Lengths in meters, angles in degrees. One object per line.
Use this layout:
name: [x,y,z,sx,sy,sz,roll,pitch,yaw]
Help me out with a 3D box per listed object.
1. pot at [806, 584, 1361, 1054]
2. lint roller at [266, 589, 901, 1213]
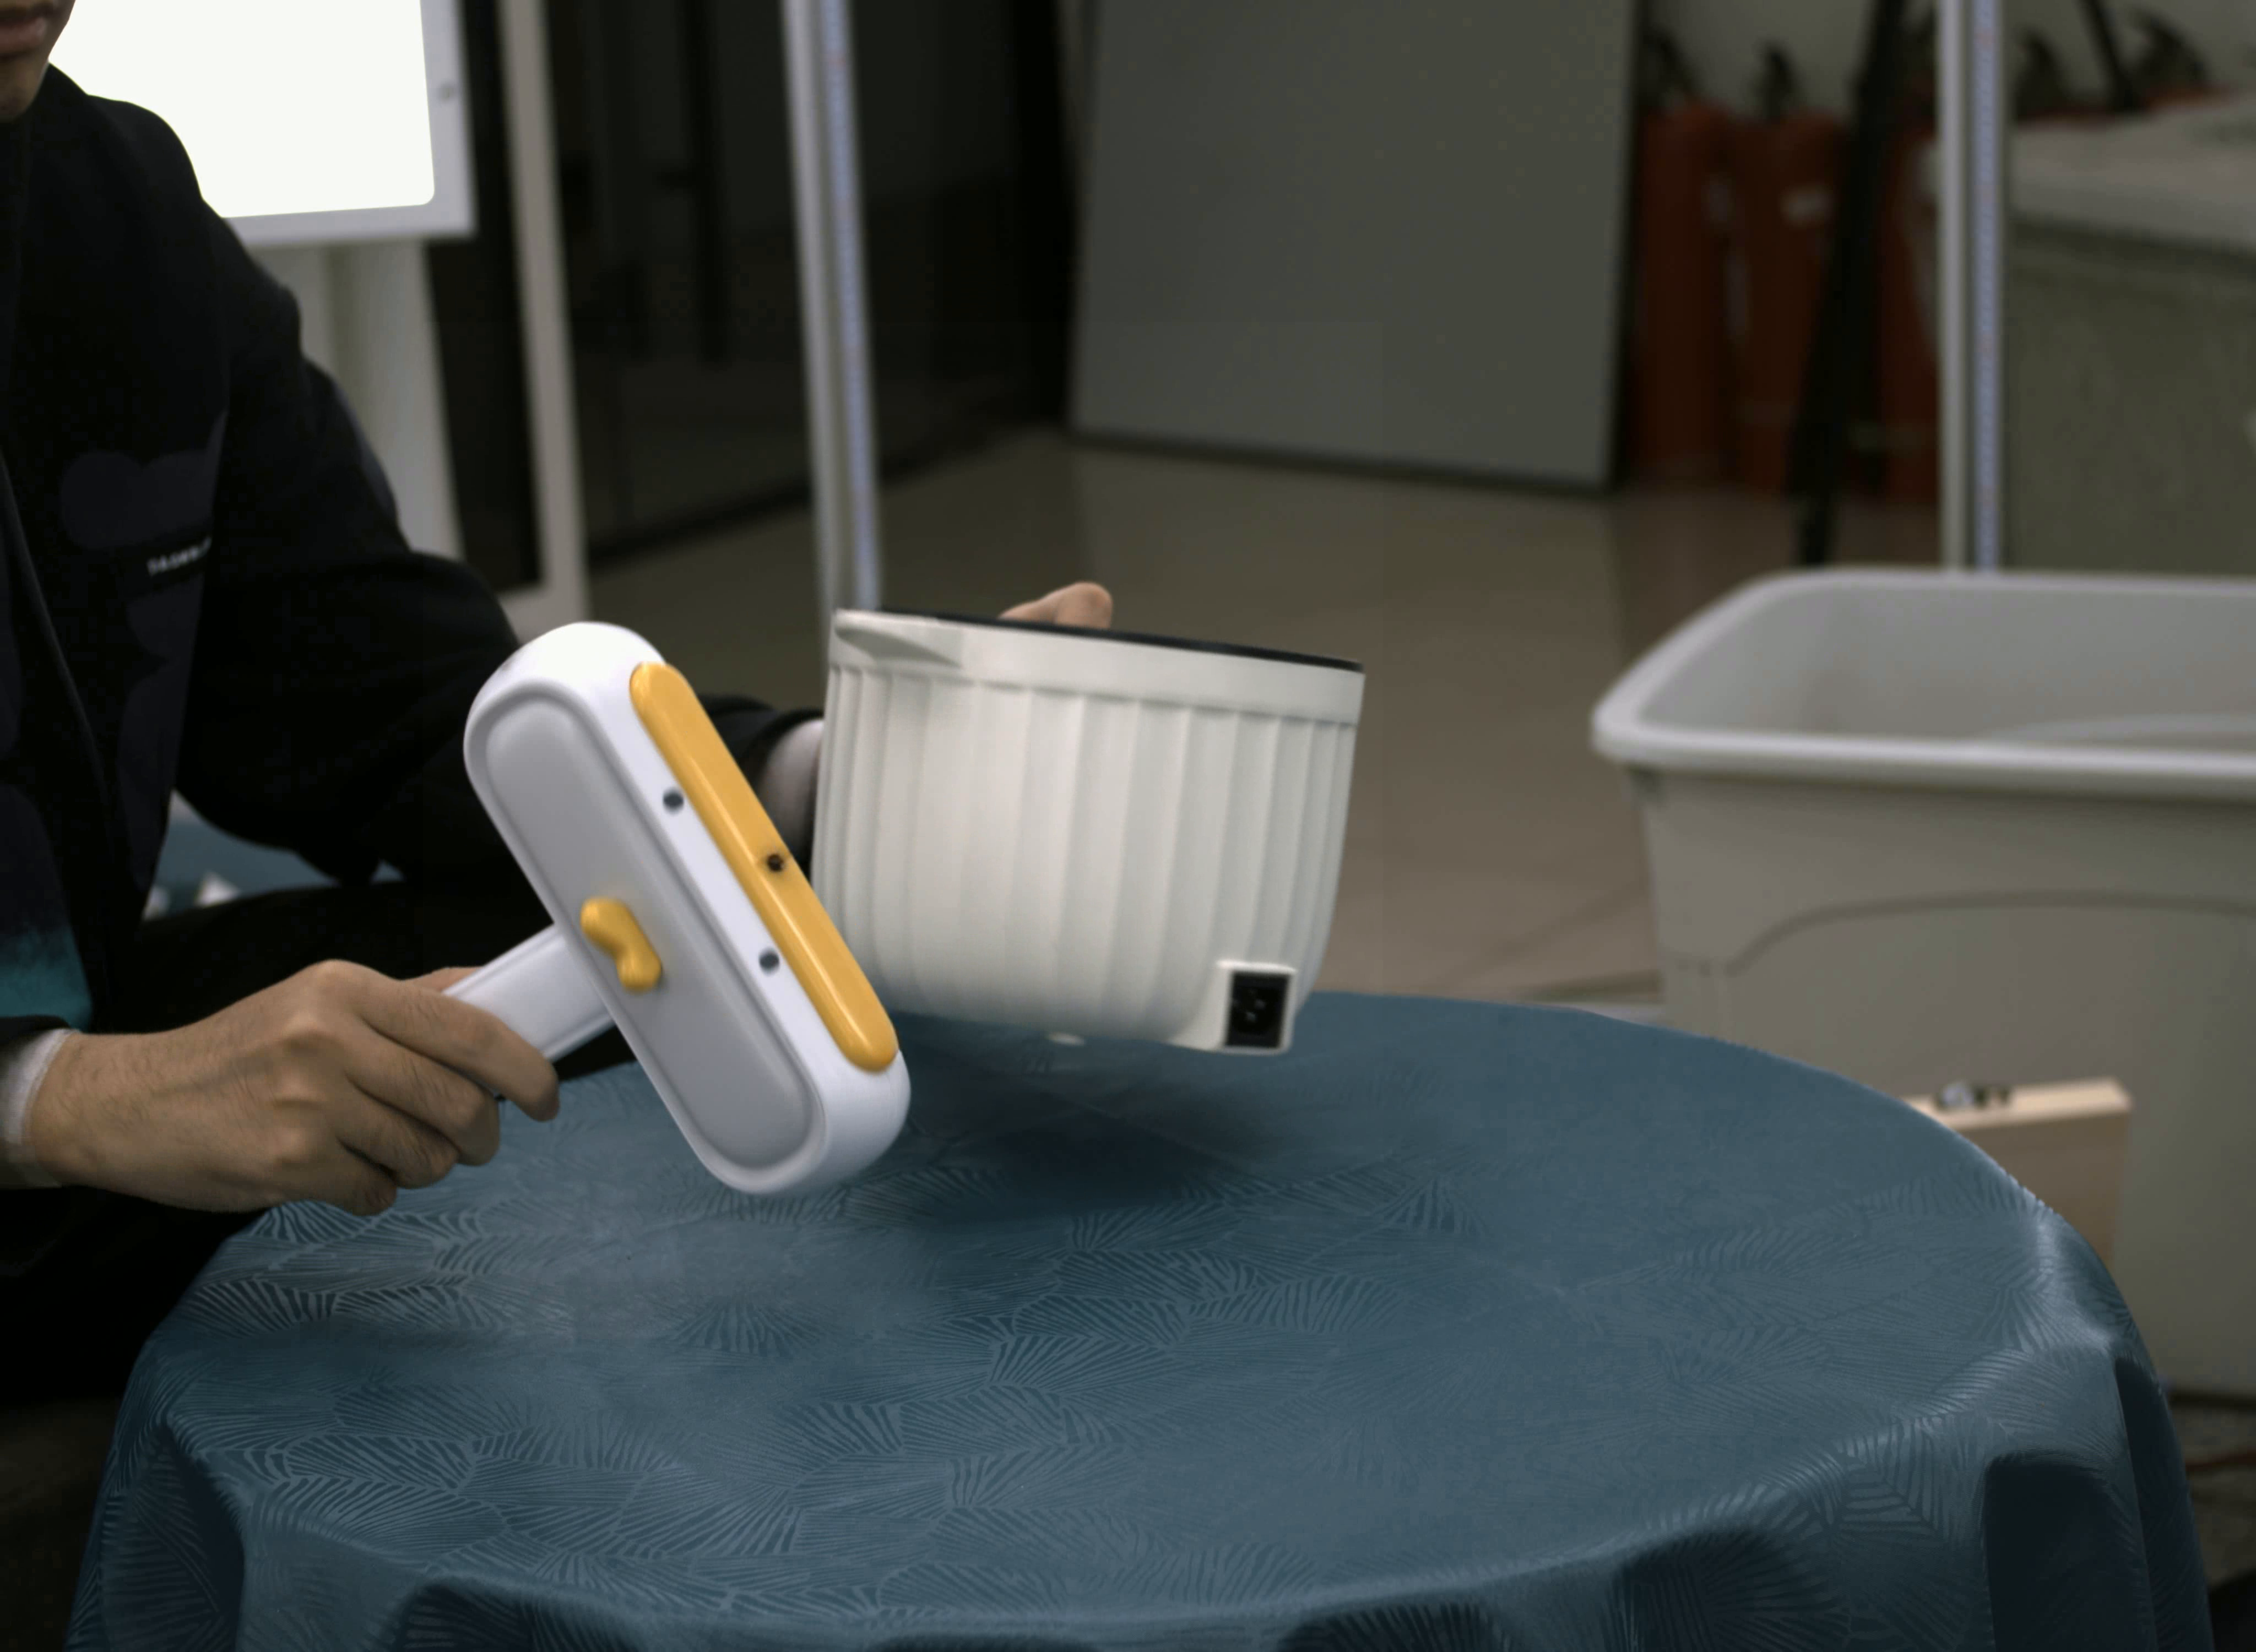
pot: [-0.024,-0.002,1.812,0.192,0.144,0.235,10,0,42]
lint roller: [-0.186,0.052,1.685,0.193,0.194,0.073,-37,-2,23]
